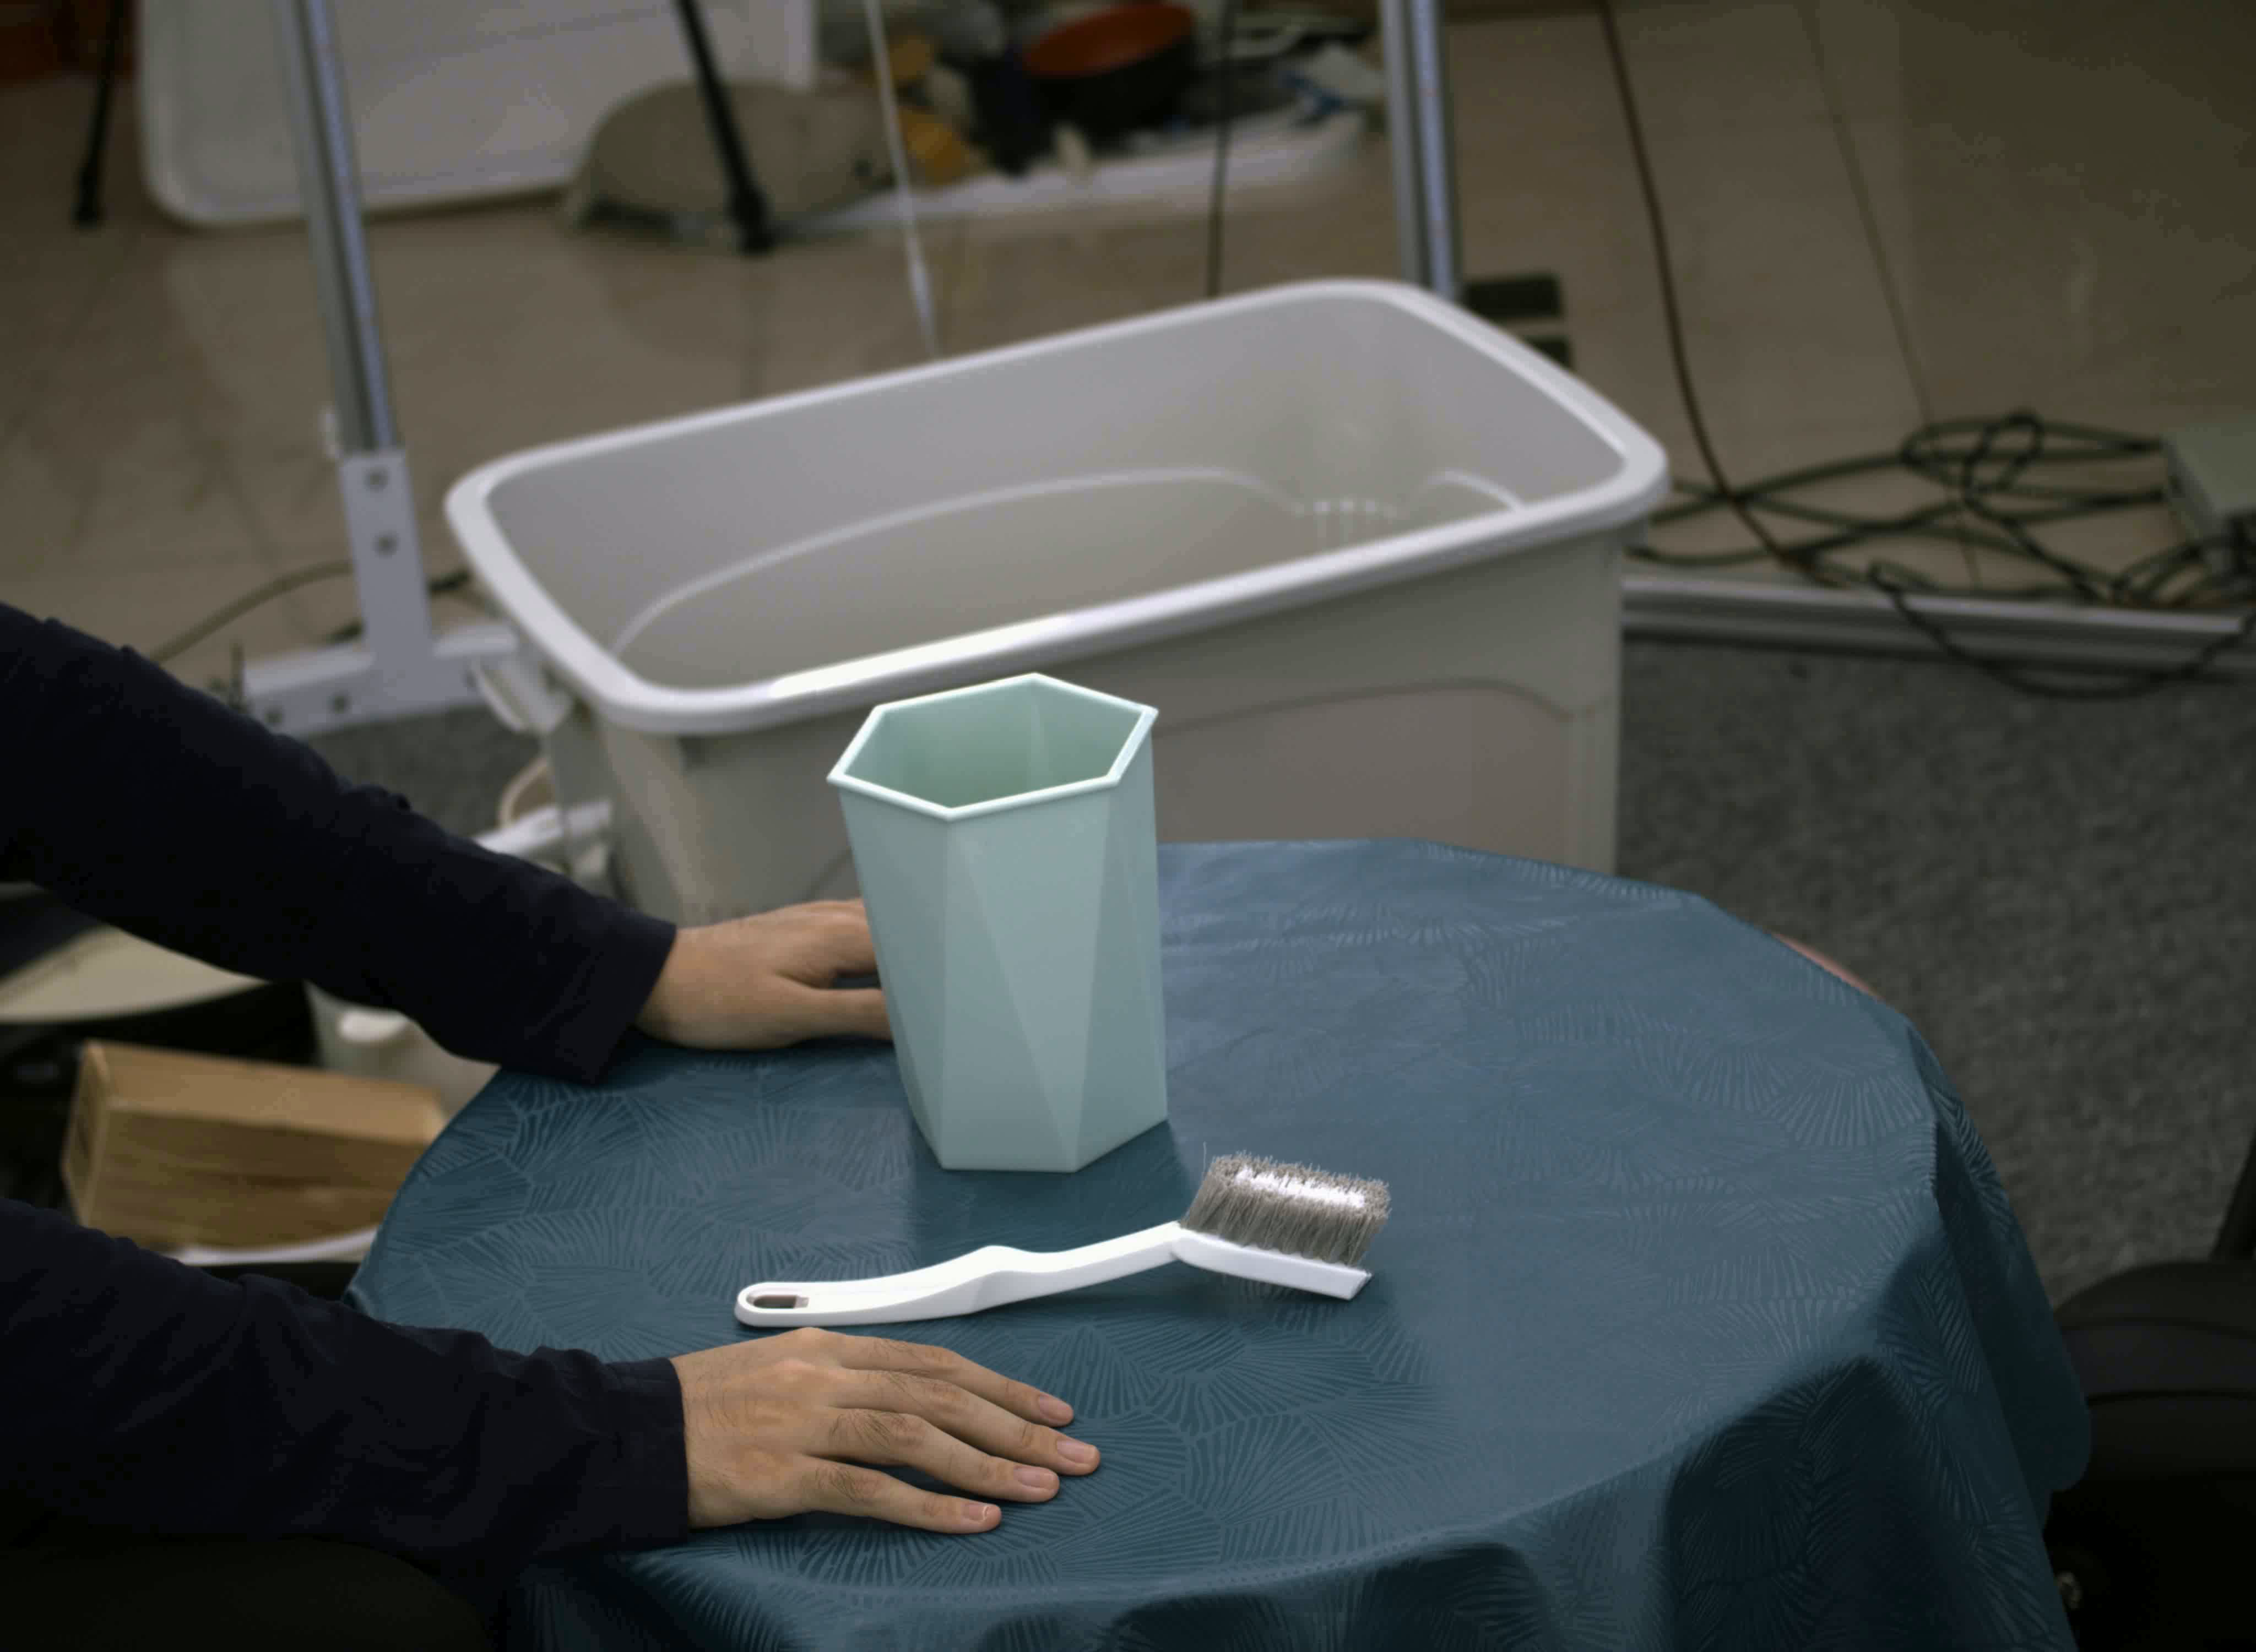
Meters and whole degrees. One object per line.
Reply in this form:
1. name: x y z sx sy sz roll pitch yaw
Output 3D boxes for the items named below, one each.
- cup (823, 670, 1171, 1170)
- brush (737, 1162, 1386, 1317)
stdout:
1. cup: -0.043 0.039 2.177 0.130 0.165 0.114 16 35 40
2. brush: -0.026 0.151 2.071 0.243 0.051 0.034 -3 30 9
